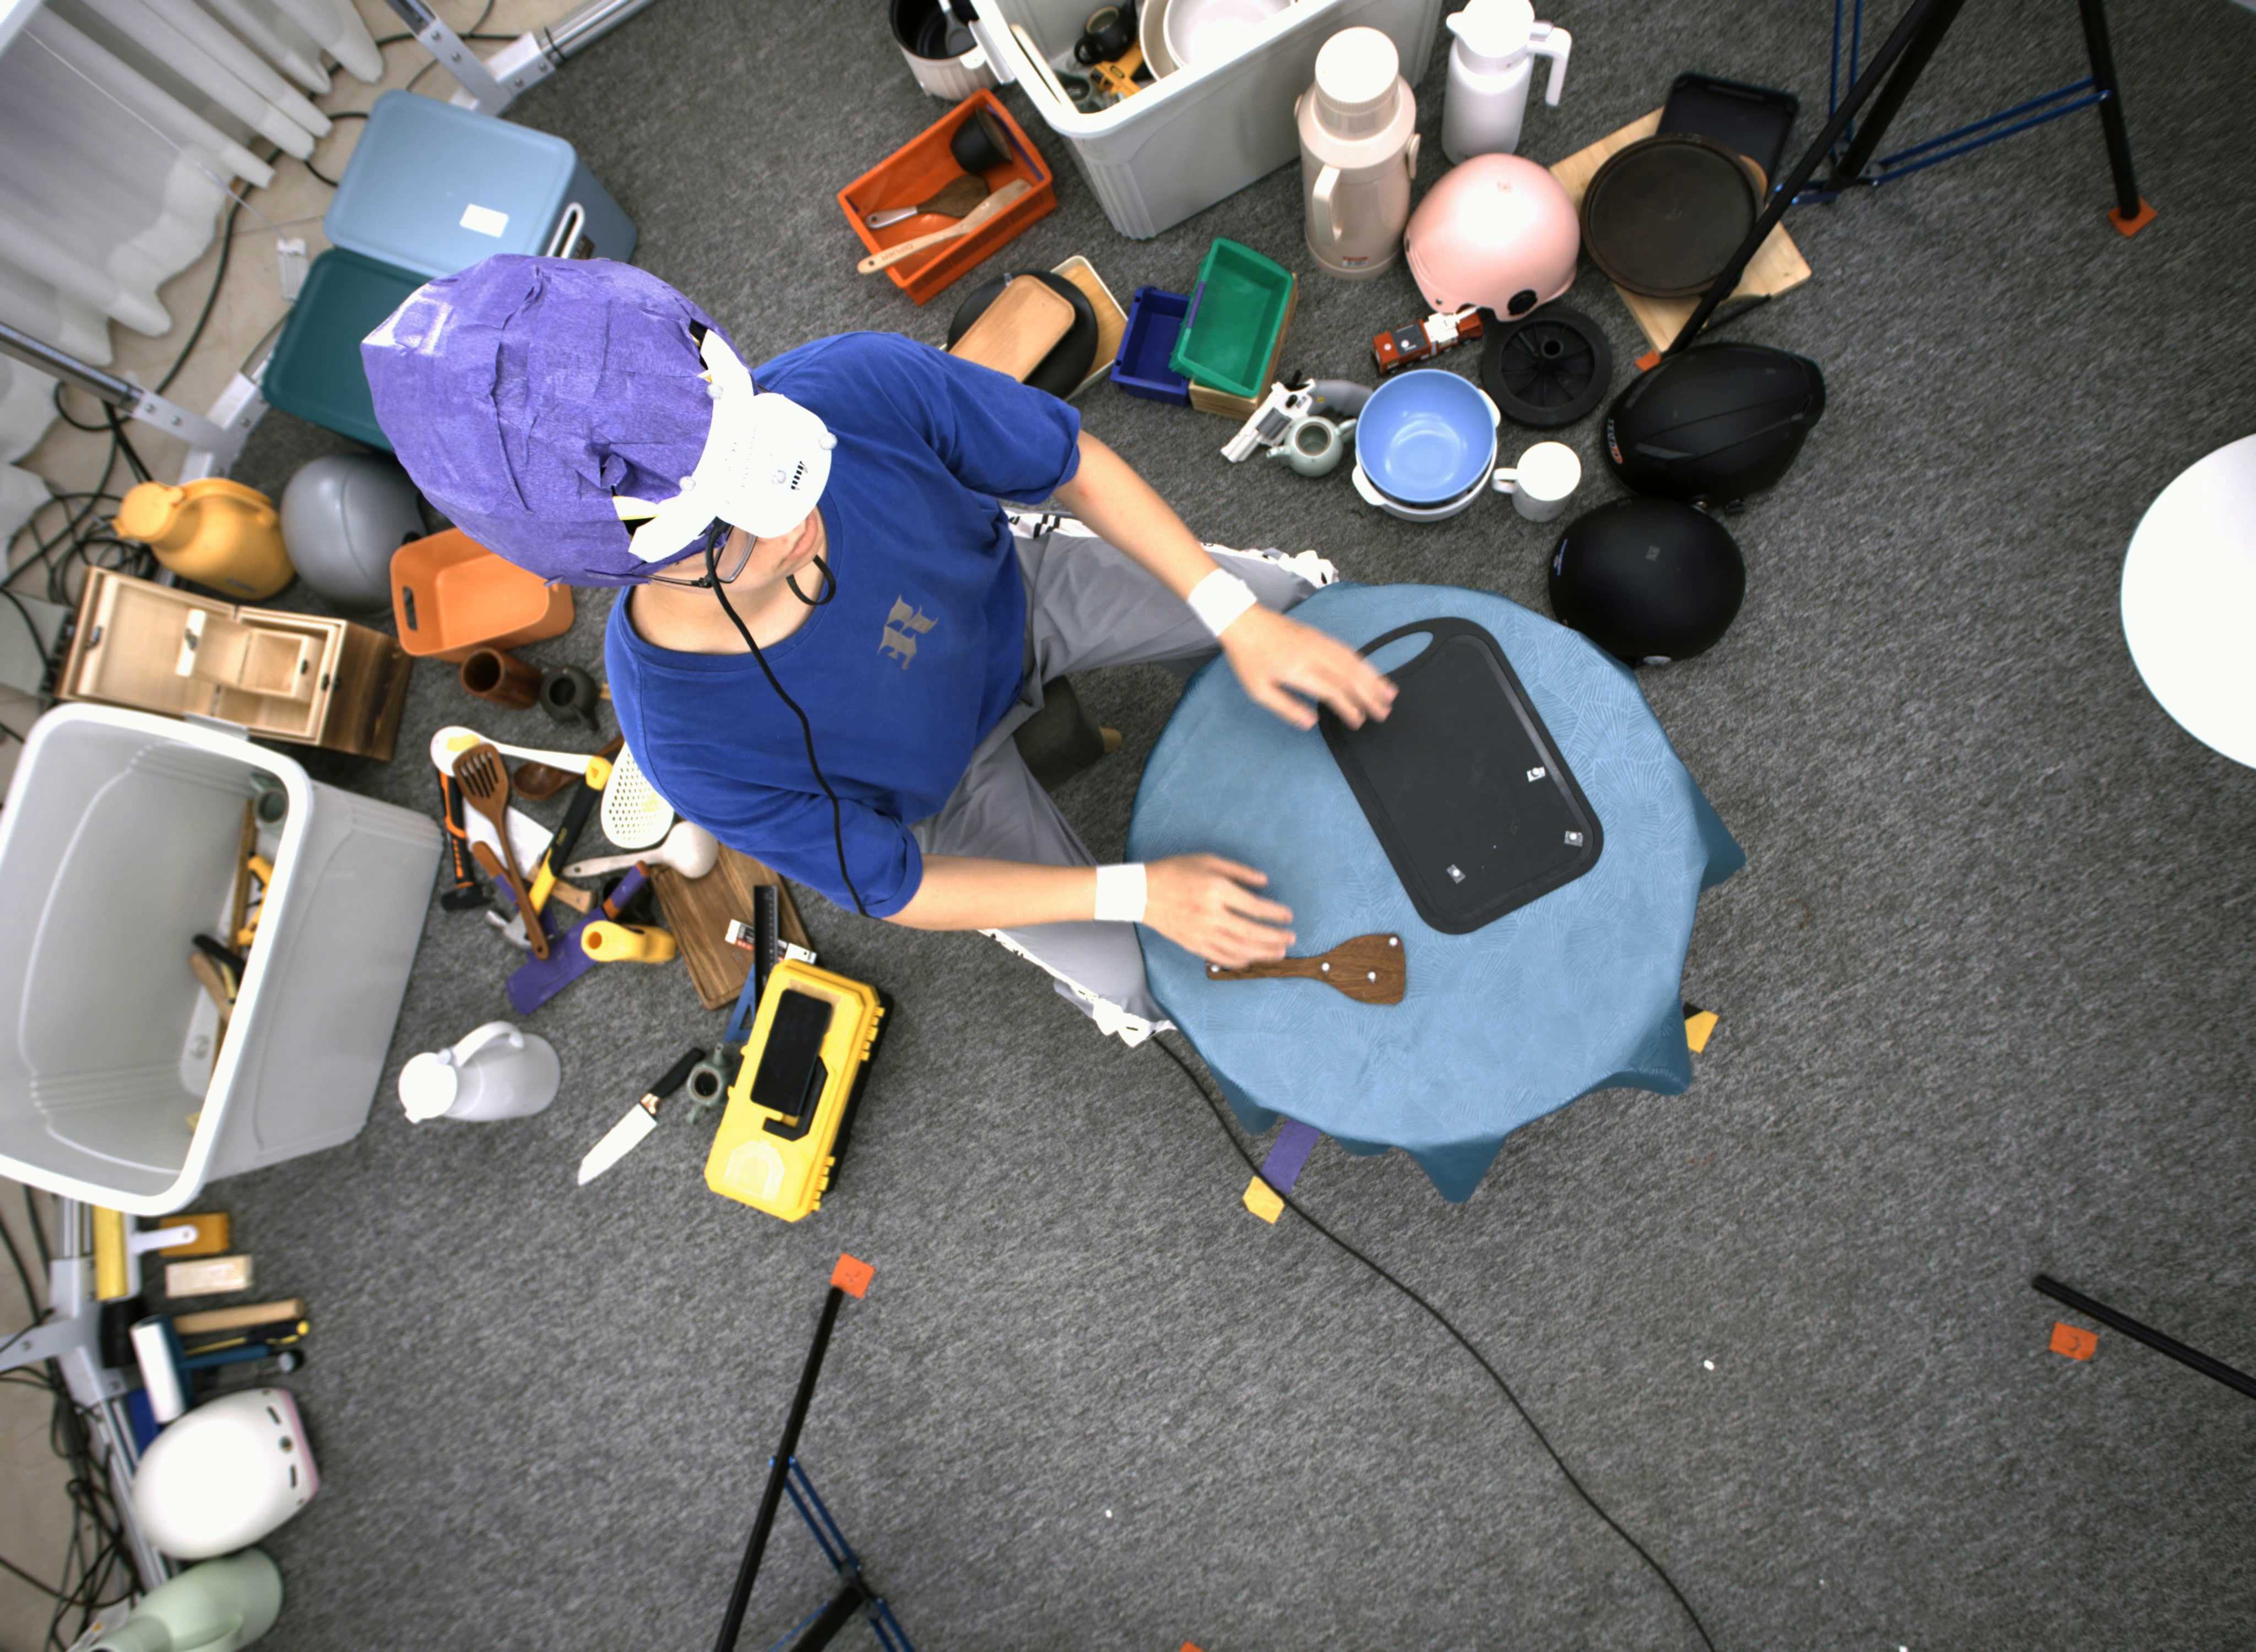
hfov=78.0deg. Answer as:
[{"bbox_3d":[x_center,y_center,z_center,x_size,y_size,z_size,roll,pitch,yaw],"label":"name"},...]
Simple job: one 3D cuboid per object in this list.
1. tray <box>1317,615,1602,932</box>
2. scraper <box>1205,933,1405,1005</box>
[{"bbox_3d":[0.342,-0.065,1.448,0.212,0.010,0.323,-28,82,8],"label":"tray"},{"bbox_3d":[0.186,0.148,1.466,0.212,0.011,0.075,0,86,12],"label":"scraper"}]
